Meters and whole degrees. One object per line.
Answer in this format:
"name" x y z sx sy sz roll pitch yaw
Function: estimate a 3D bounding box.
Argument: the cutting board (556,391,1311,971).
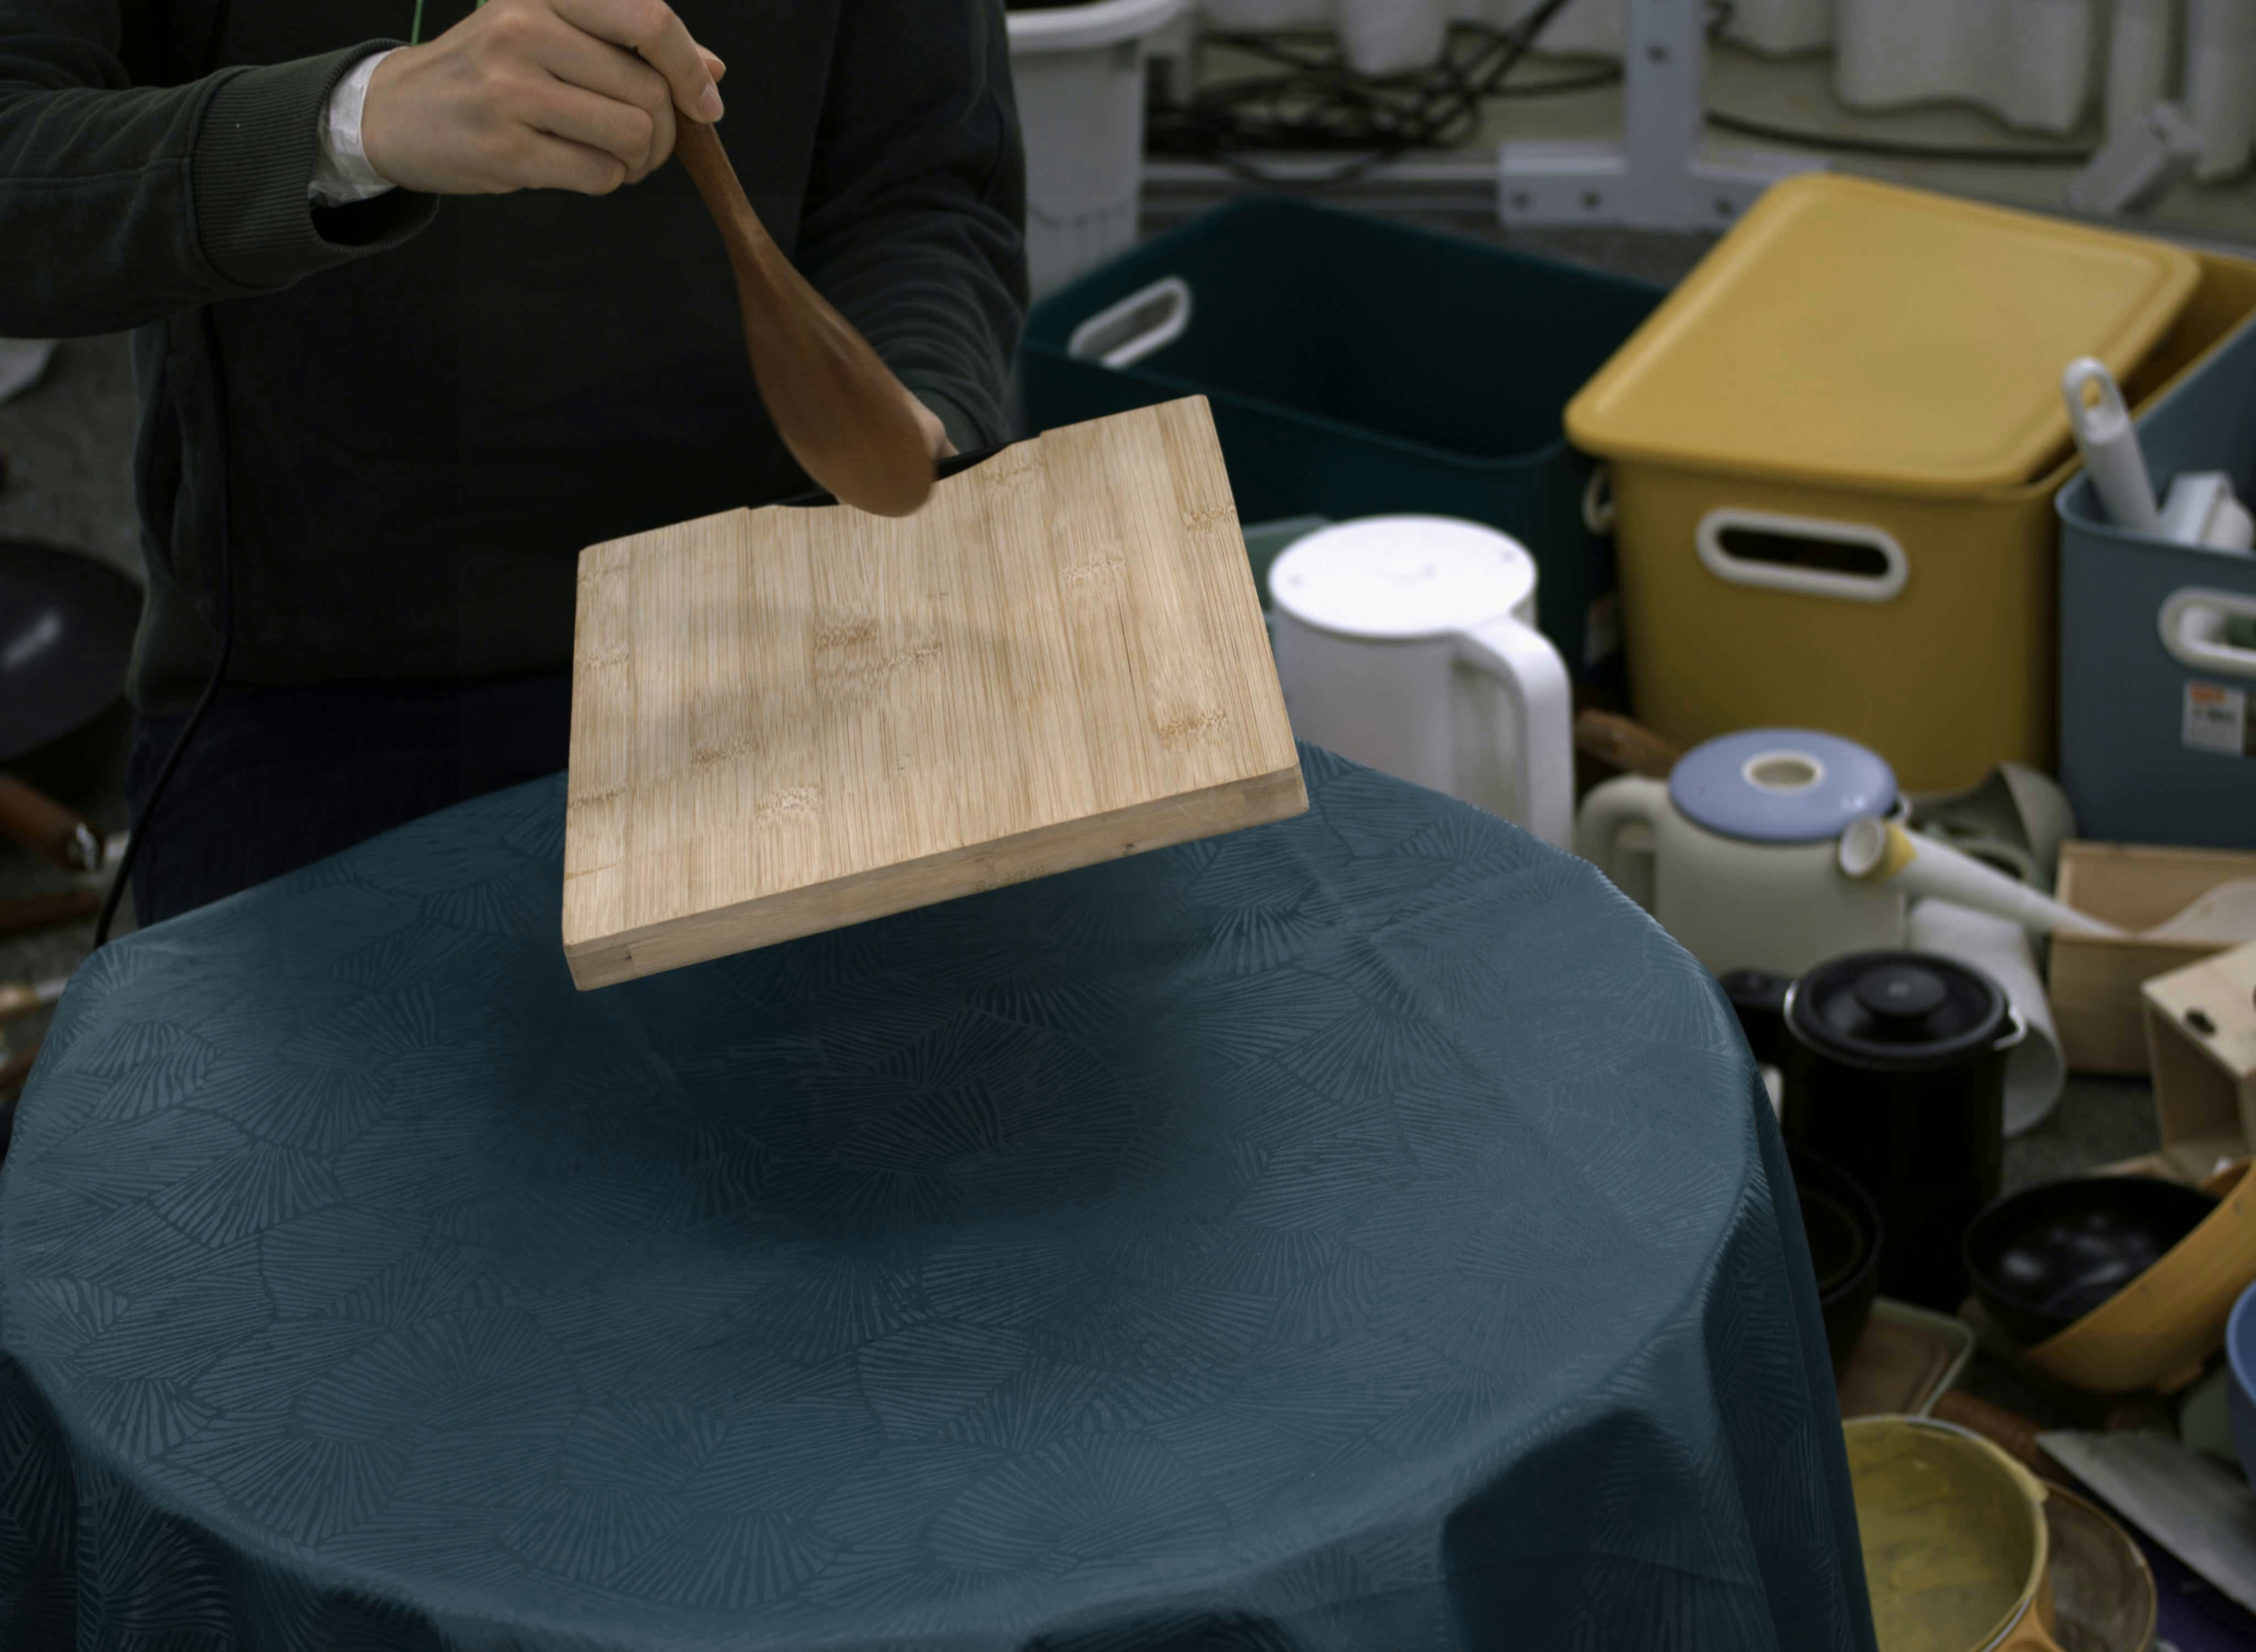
"cutting board" -0.071 -0.055 1.928 0.250 0.023 0.353 -13 24 0

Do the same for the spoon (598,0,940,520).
"spoon" -0.122 -0.191 1.875 0.017 0.214 0.075 -38 24 -27
